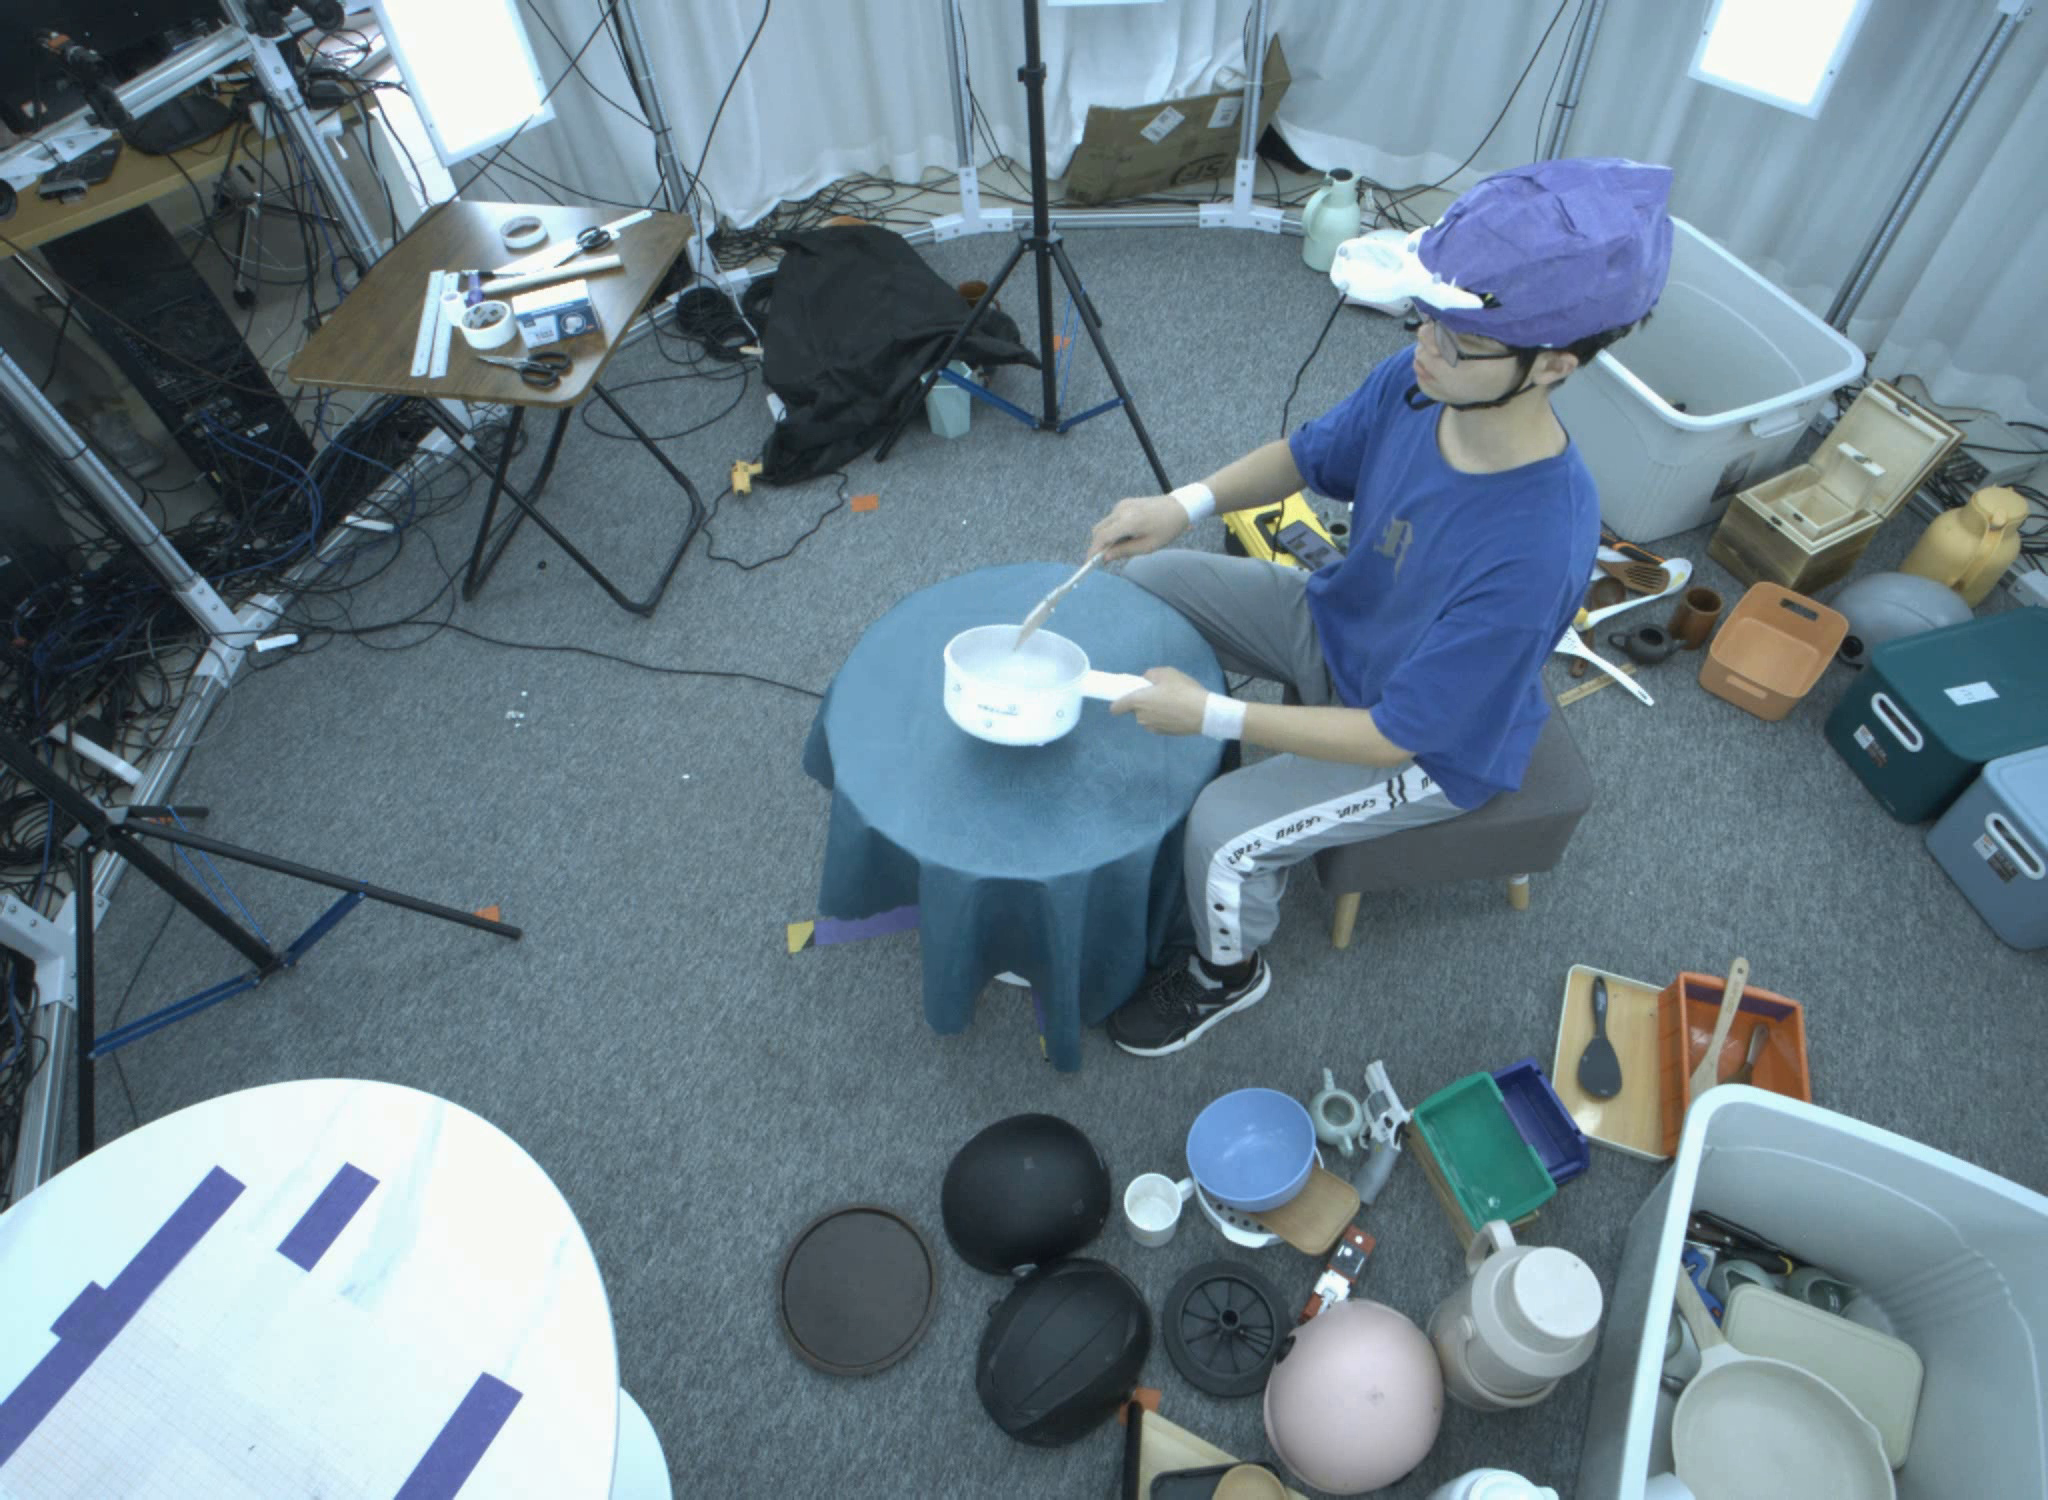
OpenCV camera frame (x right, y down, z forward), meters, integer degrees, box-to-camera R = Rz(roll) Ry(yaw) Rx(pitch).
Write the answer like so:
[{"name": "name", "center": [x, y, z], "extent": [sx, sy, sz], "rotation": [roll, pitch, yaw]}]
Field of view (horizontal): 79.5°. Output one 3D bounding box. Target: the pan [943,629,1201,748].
[{"name": "pan", "center": [0.061, -0.068, 1.696], "extent": [0.353, 0.103, 0.201], "rotation": [11, 29, 6]}]

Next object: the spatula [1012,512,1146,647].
[{"name": "spatula", "center": [0.080, -0.249, 1.723], "extent": [0.010, 0.072, 0.295], "rotation": [40, 64, 11]}]
